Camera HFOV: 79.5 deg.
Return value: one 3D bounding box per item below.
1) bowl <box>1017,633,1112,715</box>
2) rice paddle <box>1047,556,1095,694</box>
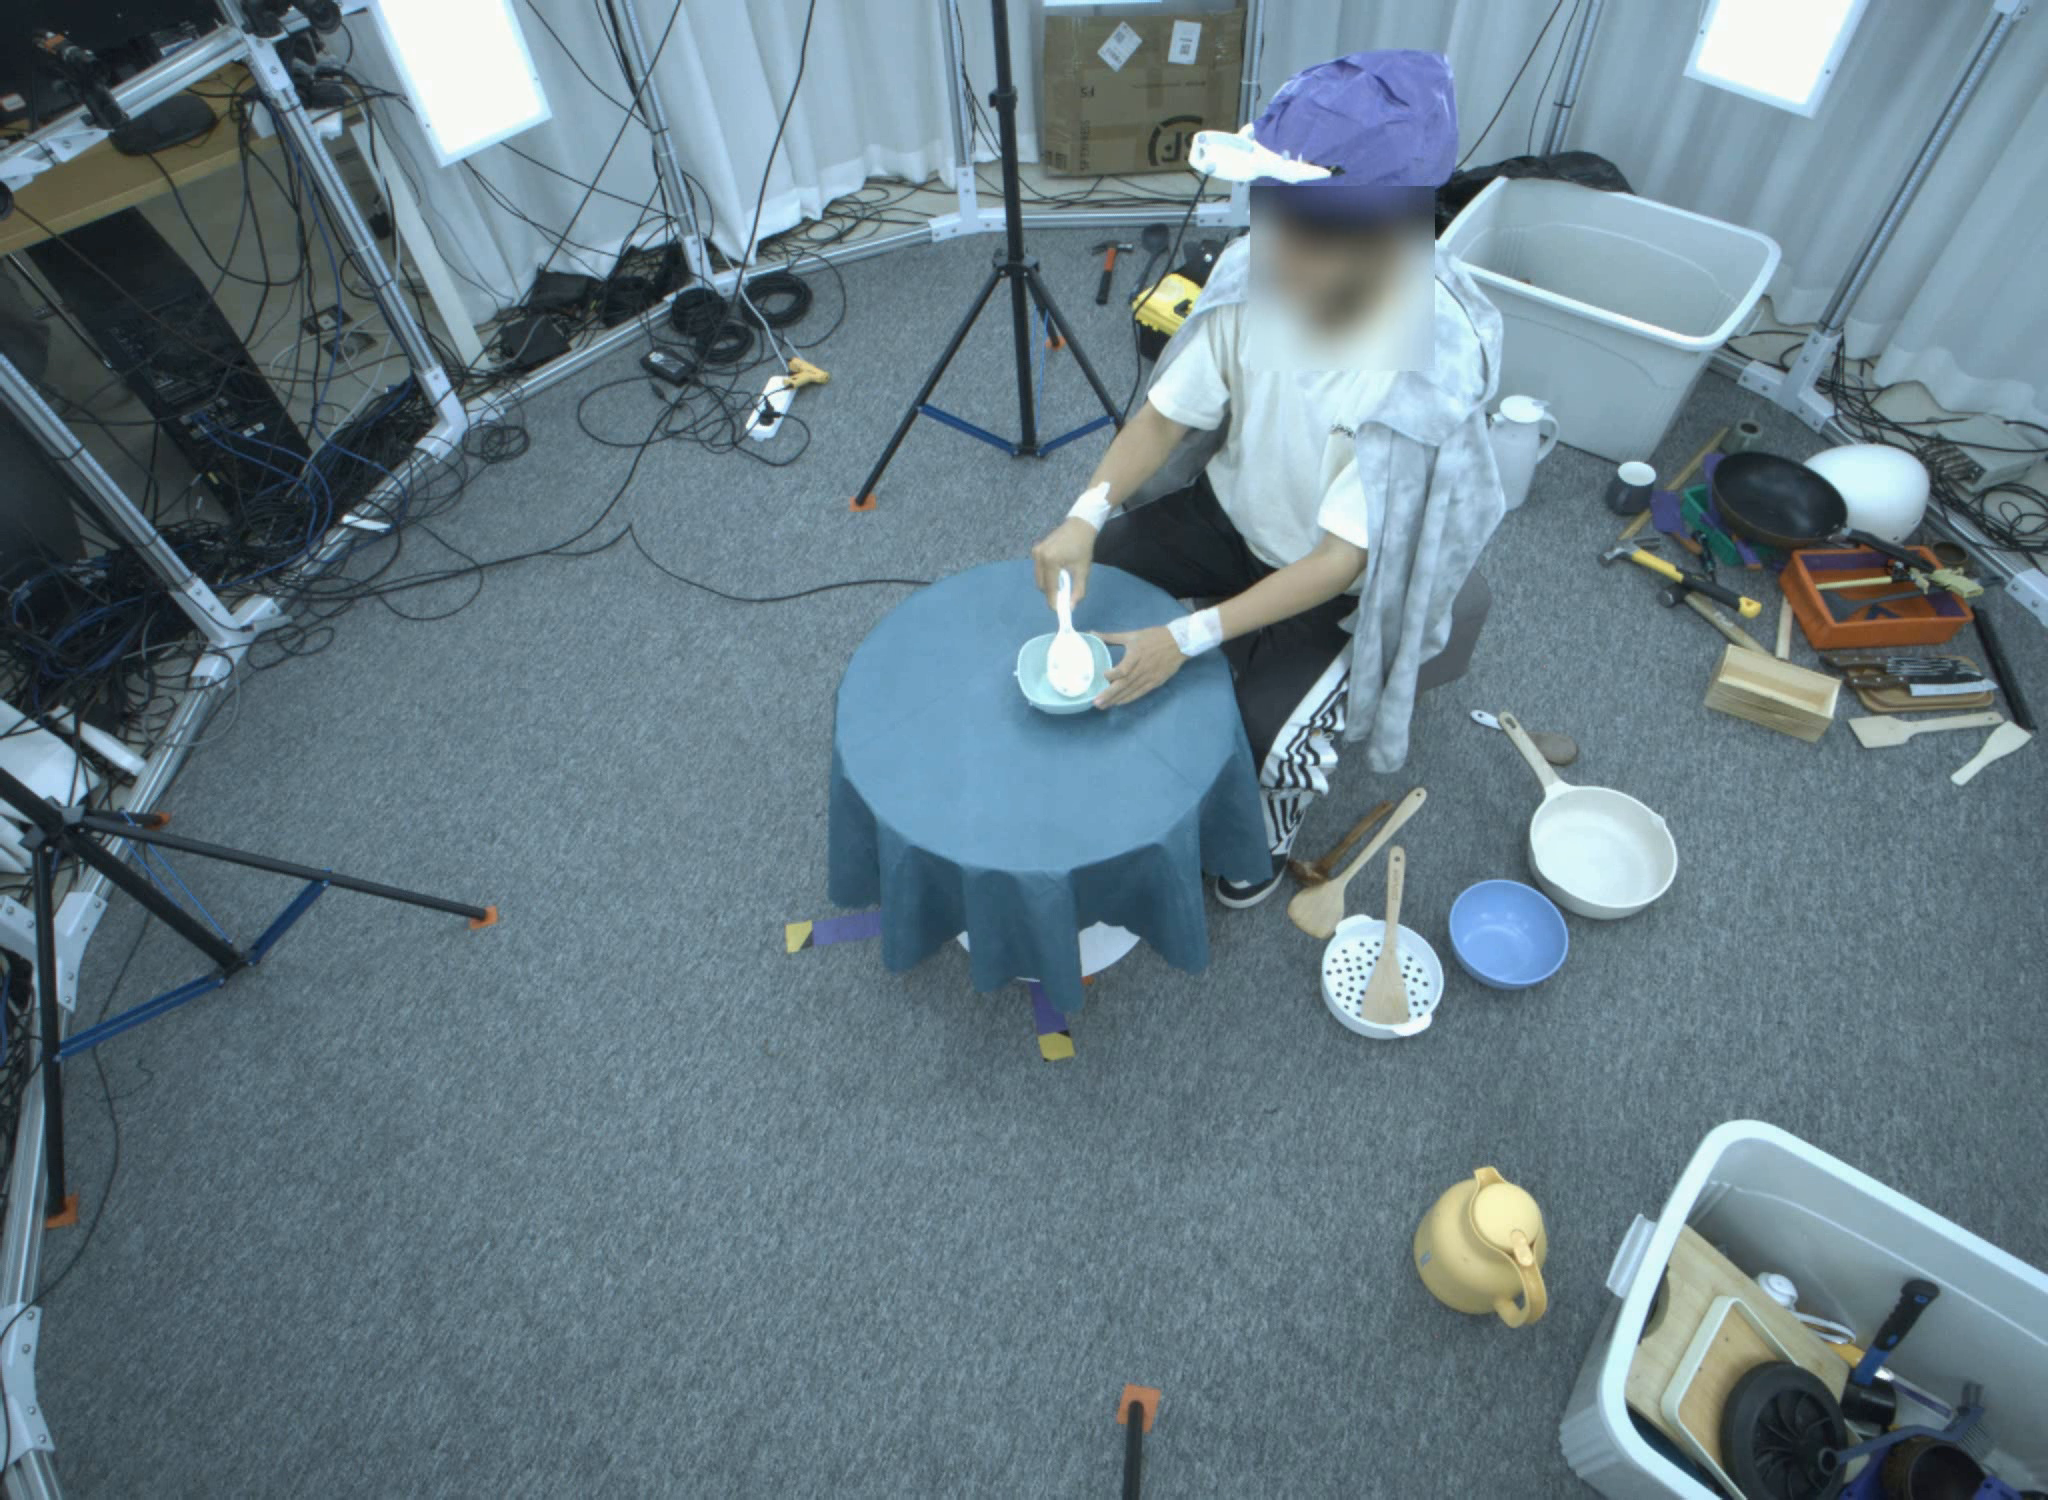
[{"bbox_3d":[0.062,-0.104,1.826,0.151,0.059,0.150,-2,54,4],"label":"bowl"},{"bbox_3d":[0.062,-0.184,1.816,0.068,0.029,0.205,-7,90,11],"label":"rice paddle"}]
